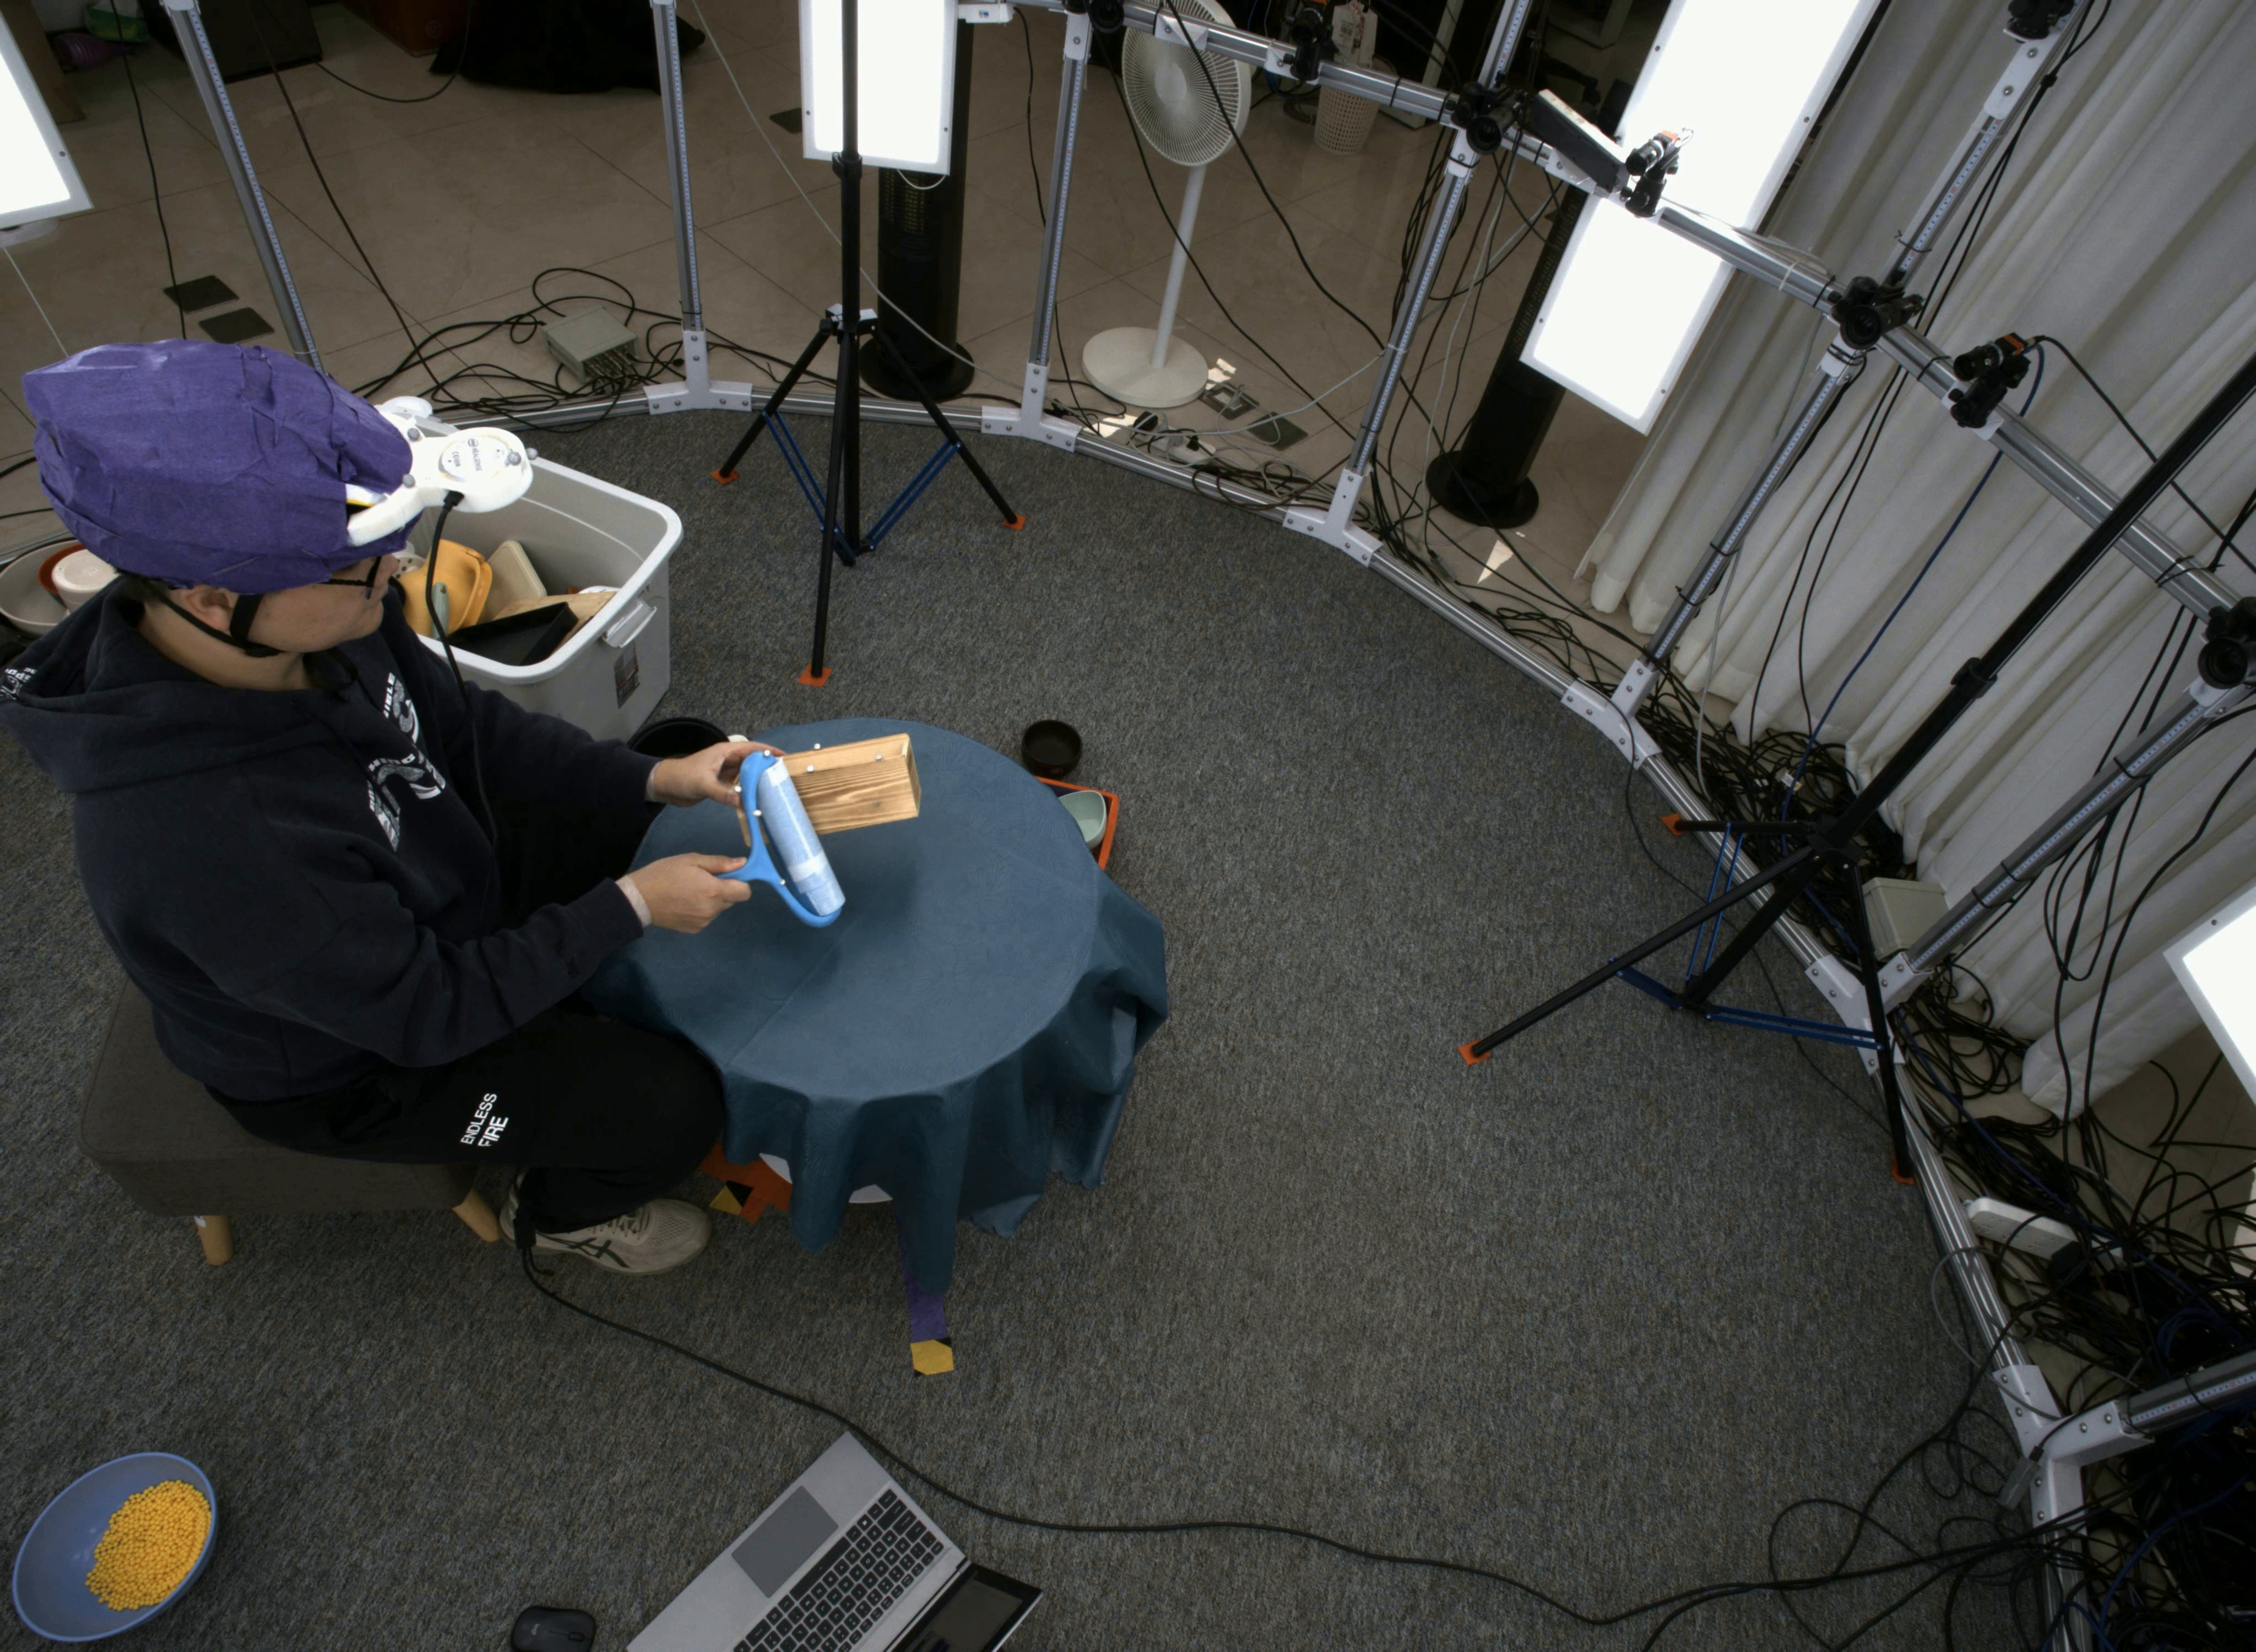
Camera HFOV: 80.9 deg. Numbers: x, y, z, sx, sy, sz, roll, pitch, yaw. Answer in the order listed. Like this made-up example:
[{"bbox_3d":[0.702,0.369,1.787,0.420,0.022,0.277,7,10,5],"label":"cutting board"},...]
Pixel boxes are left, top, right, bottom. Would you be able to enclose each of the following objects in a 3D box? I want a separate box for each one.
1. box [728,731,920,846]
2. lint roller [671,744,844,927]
[{"bbox_3d":[-0.369,-0.048,1.592,0.210,0.083,0.105,-11,21,-6],"label":"box"},{"bbox_3d":[-0.437,0.041,1.496,0.180,0.237,0.065,-36,31,-31],"label":"lint roller"}]
